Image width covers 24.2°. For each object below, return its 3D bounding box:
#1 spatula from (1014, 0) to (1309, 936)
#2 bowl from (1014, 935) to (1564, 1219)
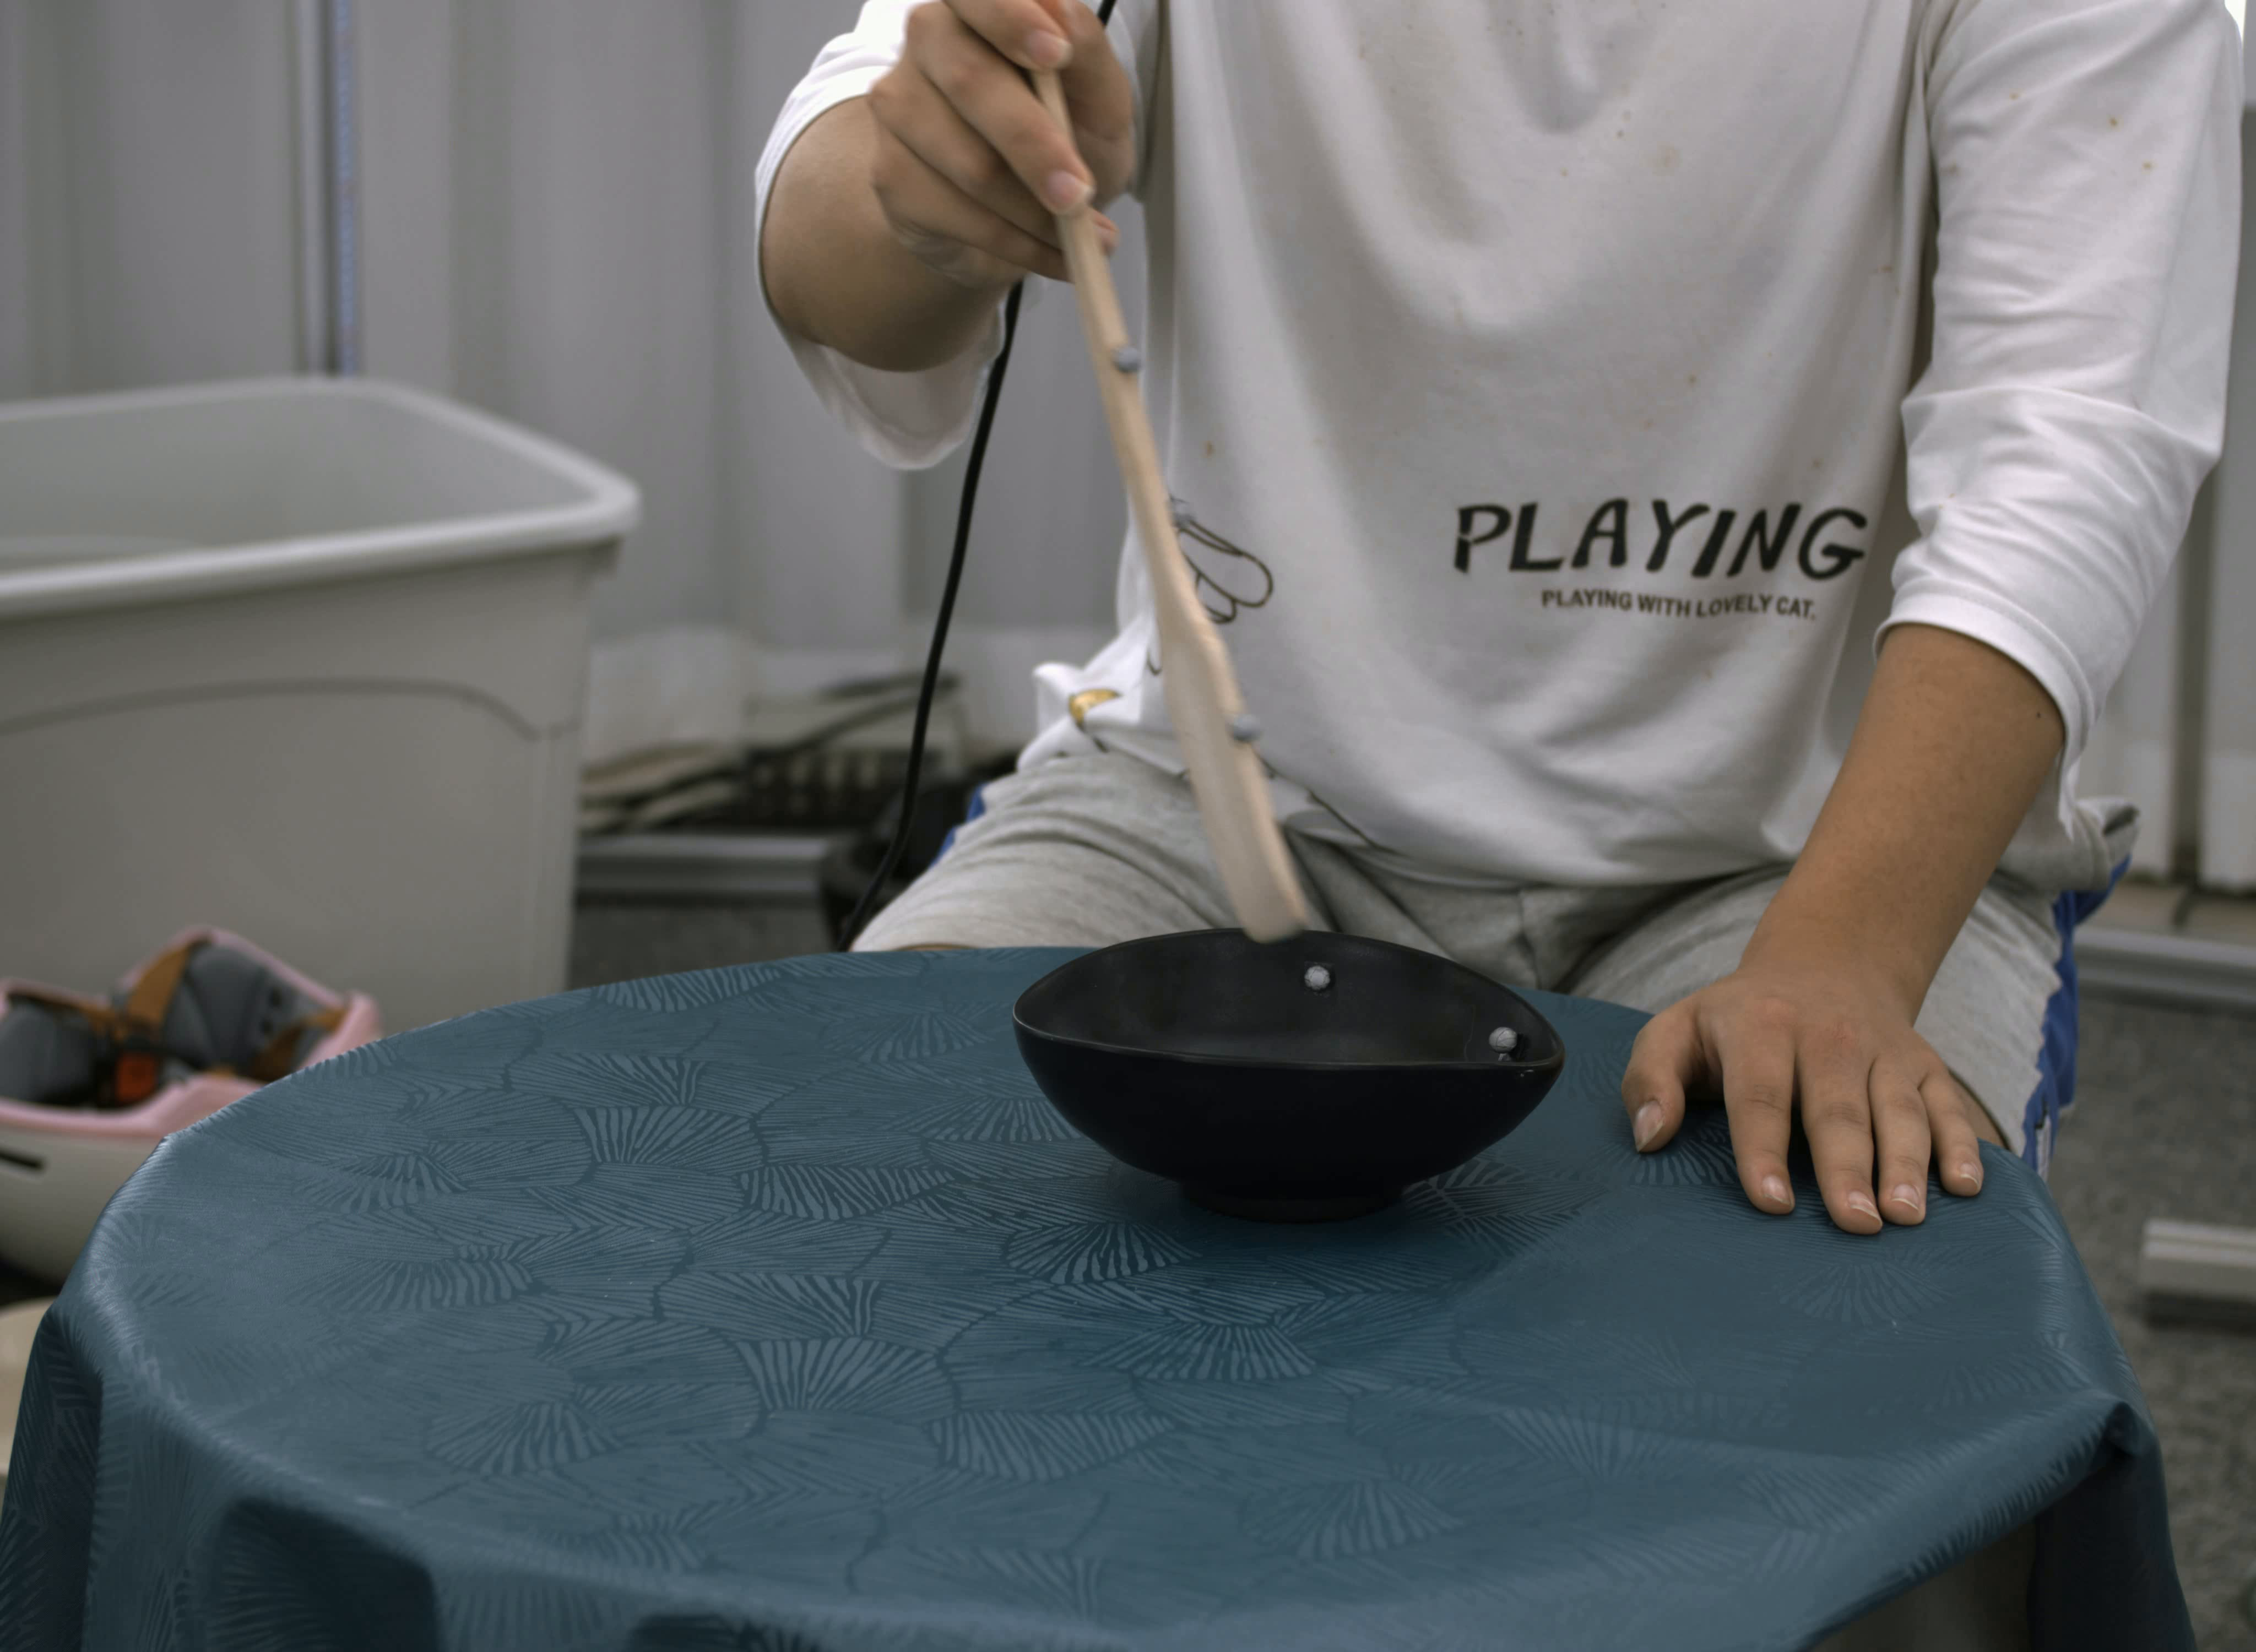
[{"bbox_3d":[0.006,-0.110,1.528,0.010,0.293,0.072,-15,-1,-11],"label":"spatula"},{"bbox_3d":[0.049,0.081,1.627,0.170,0.067,0.136,3,15,0],"label":"bowl"}]
